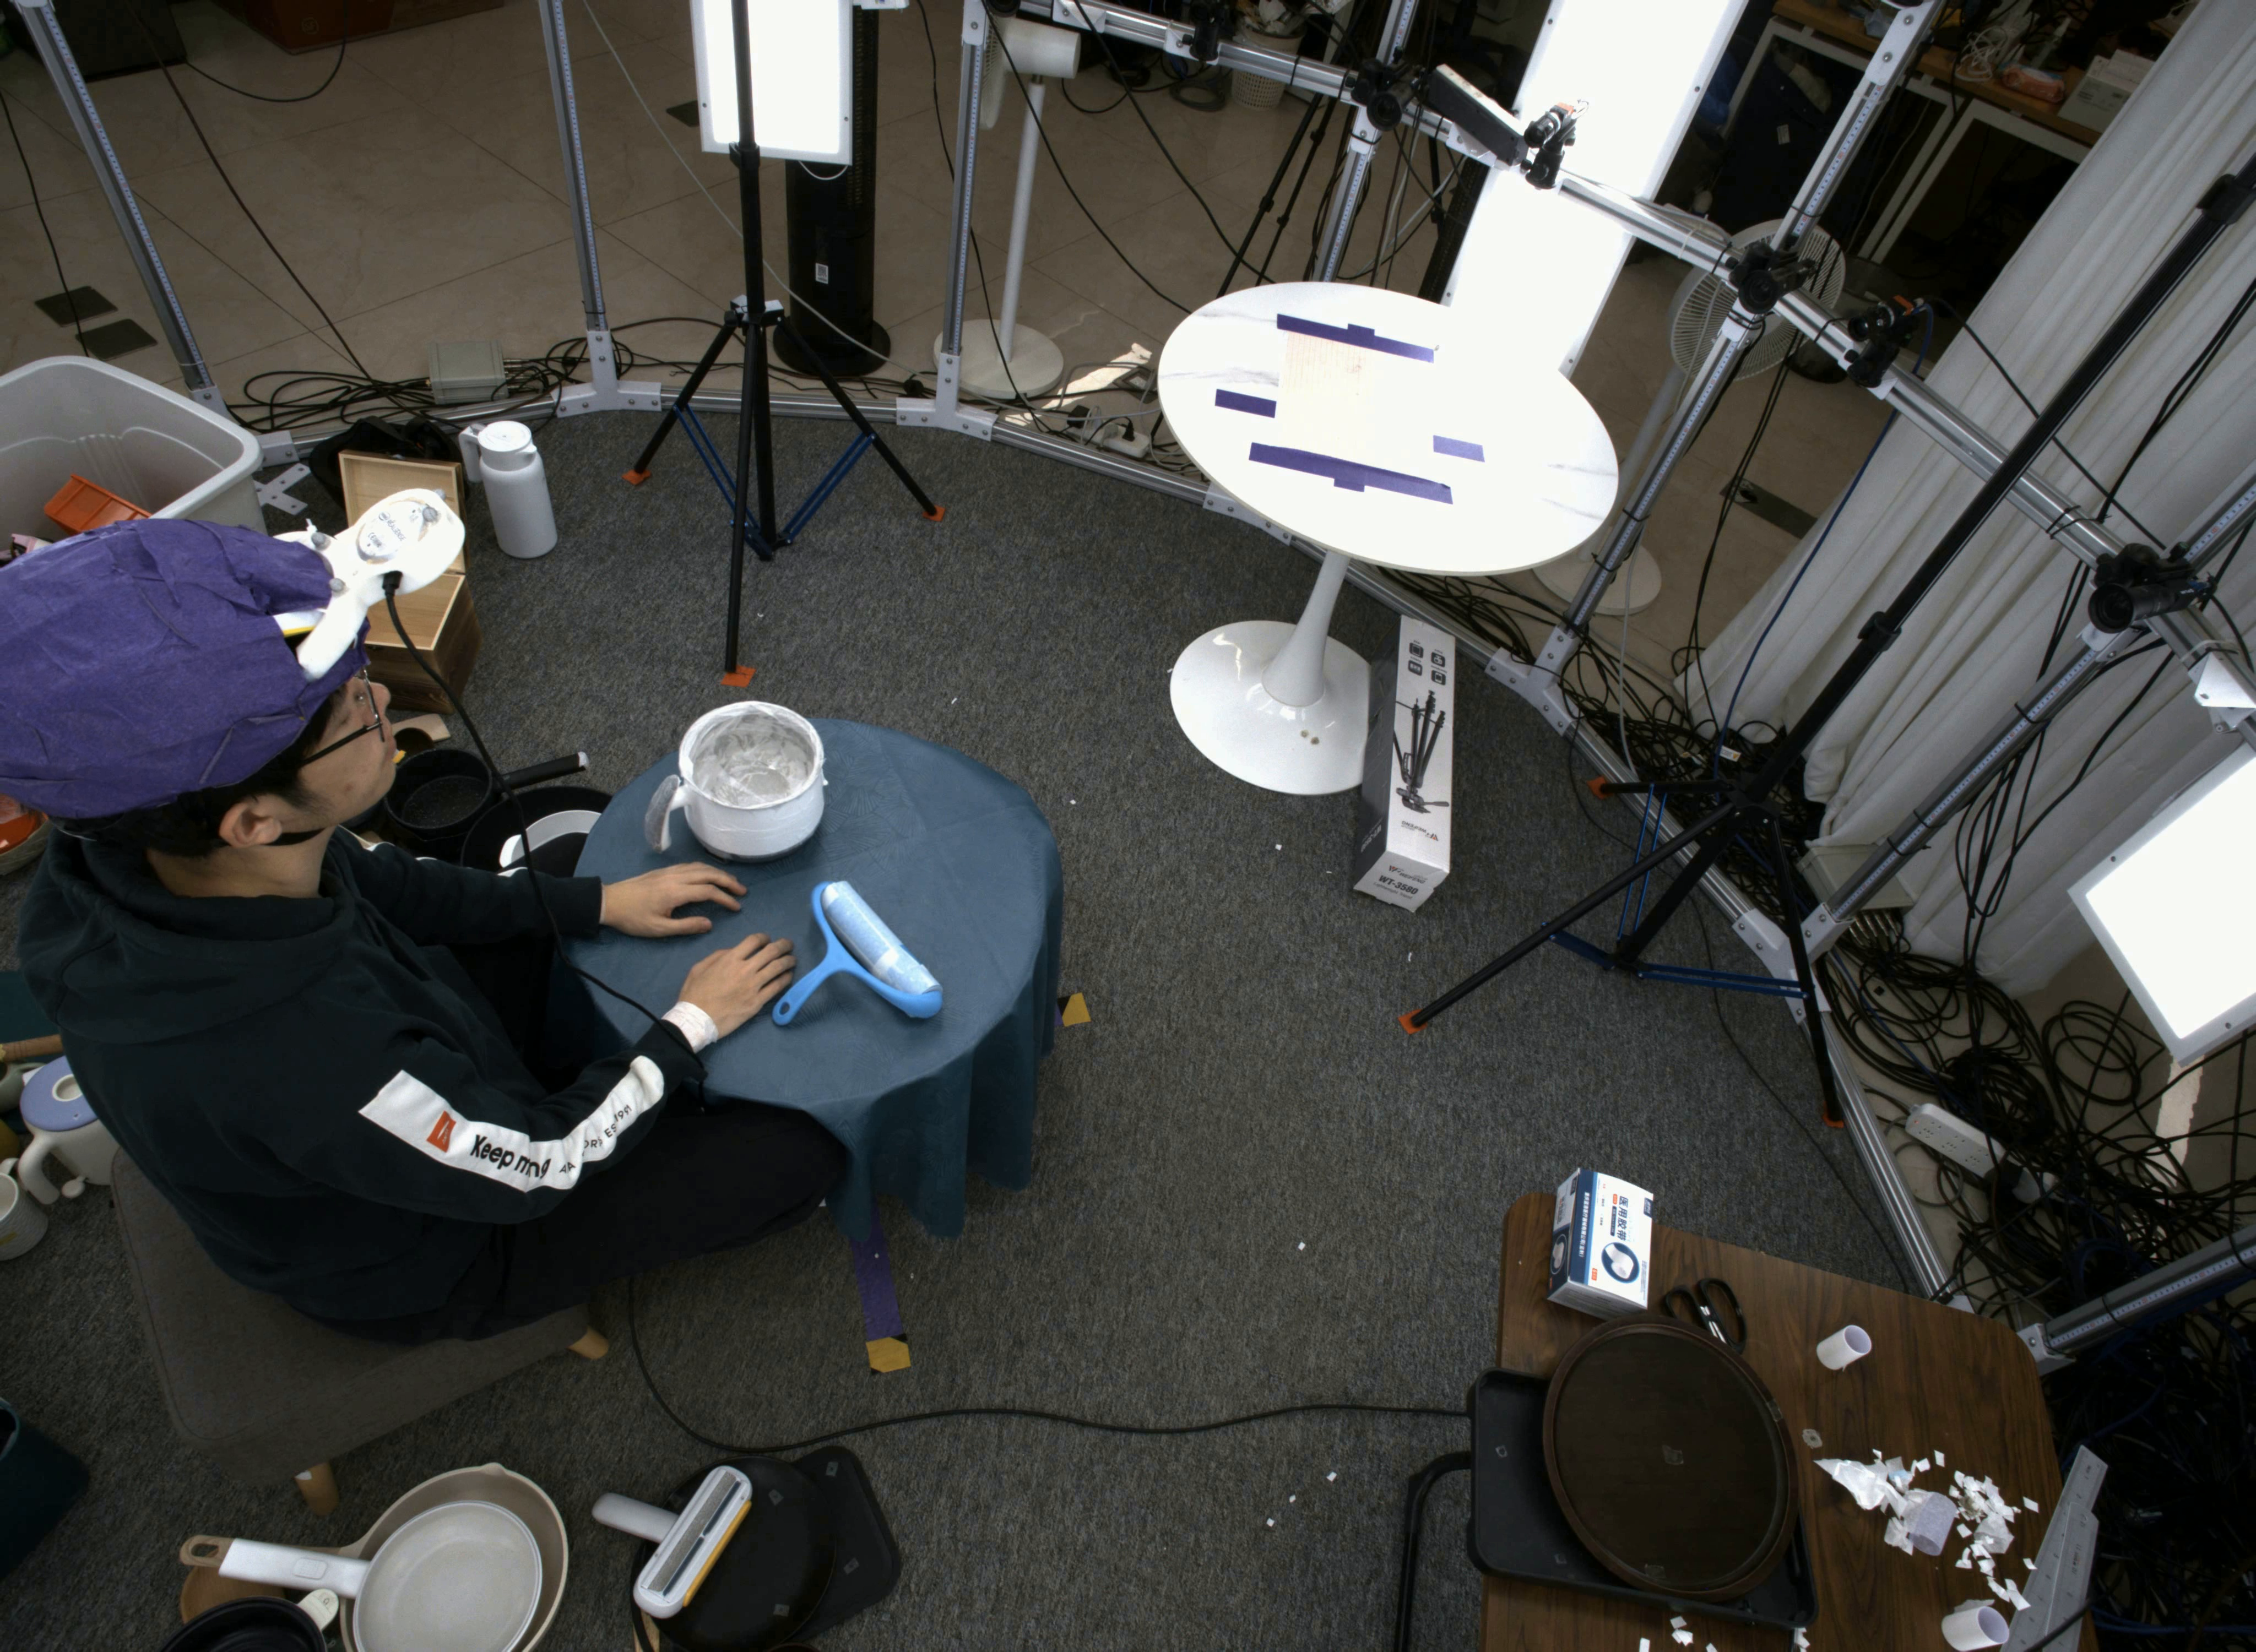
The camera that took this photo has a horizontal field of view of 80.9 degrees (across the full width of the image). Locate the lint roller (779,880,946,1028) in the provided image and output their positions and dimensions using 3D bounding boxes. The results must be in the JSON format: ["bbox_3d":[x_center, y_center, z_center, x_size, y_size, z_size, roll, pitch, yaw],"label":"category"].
[{"bbox_3d":[-0.349,0.176,1.584,0.224,0.069,0.180,42,54,14],"label":"lint roller"}]

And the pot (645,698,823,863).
[{"bbox_3d":[-0.505,-0.046,1.651,0.235,0.139,0.174,-23,62,-30],"label":"pot"}]
